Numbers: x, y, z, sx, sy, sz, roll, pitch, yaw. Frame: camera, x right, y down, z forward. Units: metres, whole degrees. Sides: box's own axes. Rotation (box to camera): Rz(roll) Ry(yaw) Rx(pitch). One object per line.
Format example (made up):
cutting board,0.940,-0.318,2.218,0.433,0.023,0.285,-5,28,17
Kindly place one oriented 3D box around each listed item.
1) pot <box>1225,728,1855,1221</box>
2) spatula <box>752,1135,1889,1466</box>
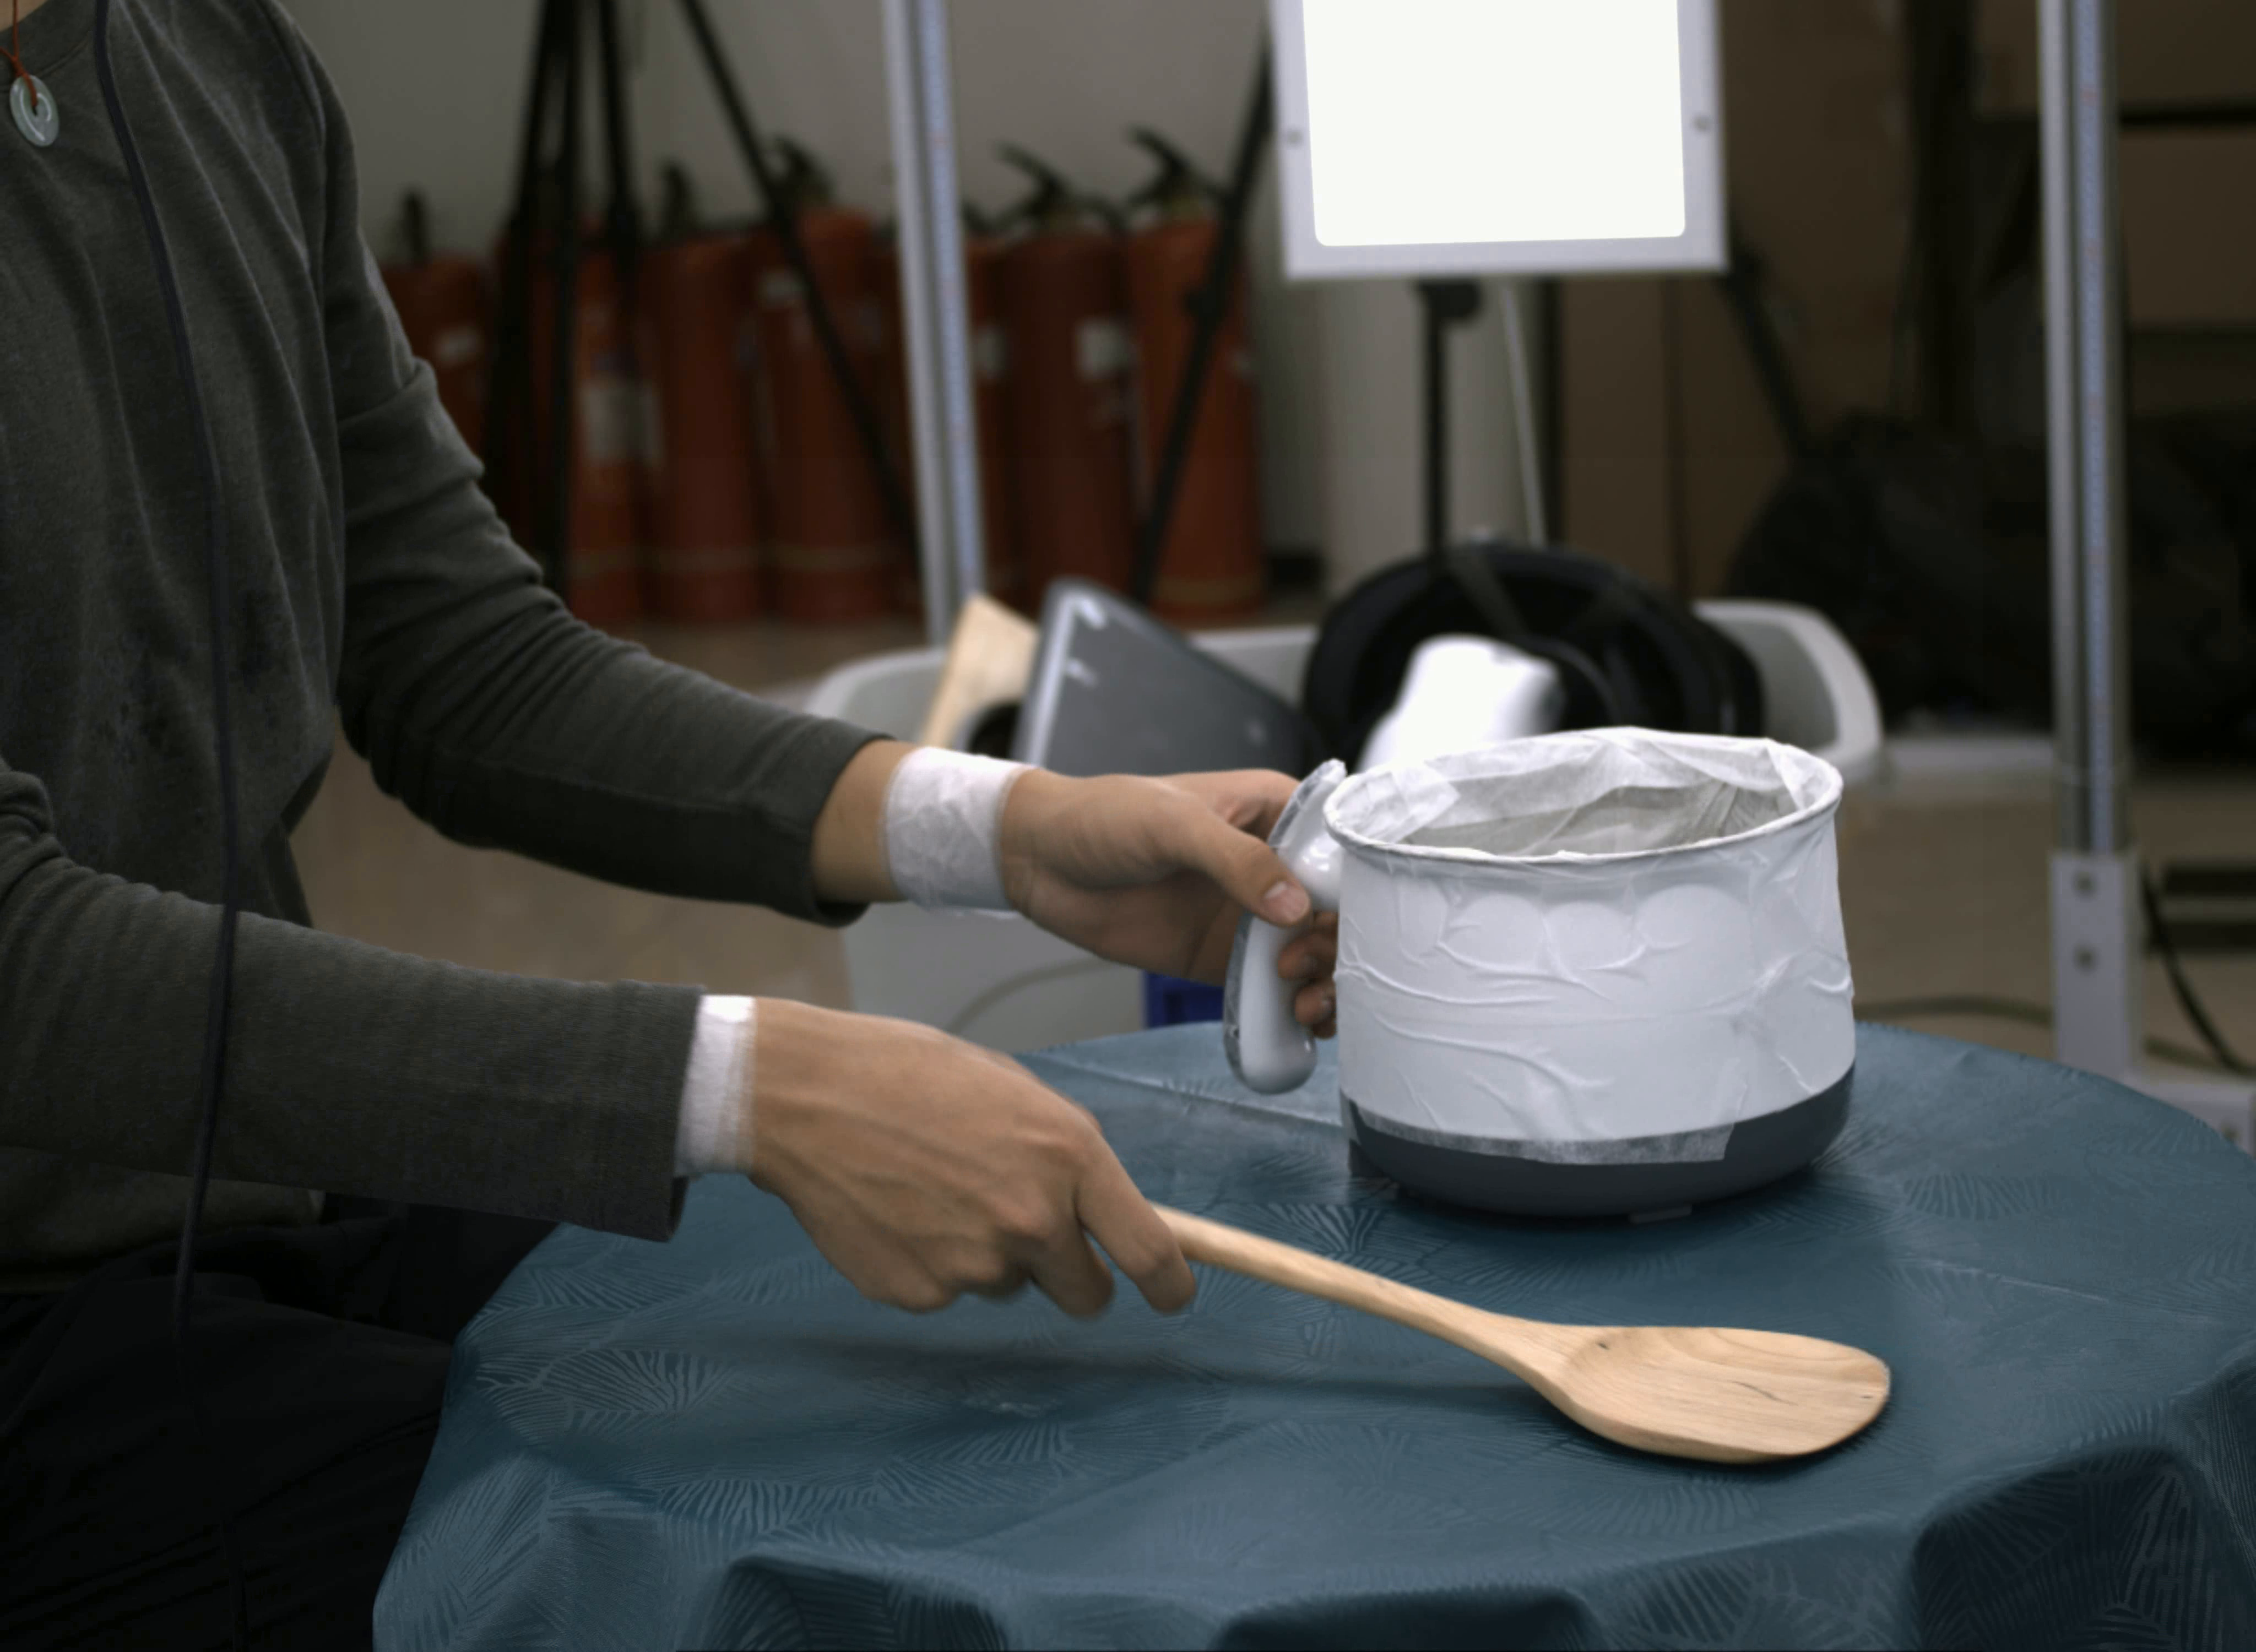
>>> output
pot,0.135,0.047,1.886,0.238,0.137,0.174,4,16,33
spatula,0.048,0.142,1.700,0.397,0.018,0.093,13,19,28
